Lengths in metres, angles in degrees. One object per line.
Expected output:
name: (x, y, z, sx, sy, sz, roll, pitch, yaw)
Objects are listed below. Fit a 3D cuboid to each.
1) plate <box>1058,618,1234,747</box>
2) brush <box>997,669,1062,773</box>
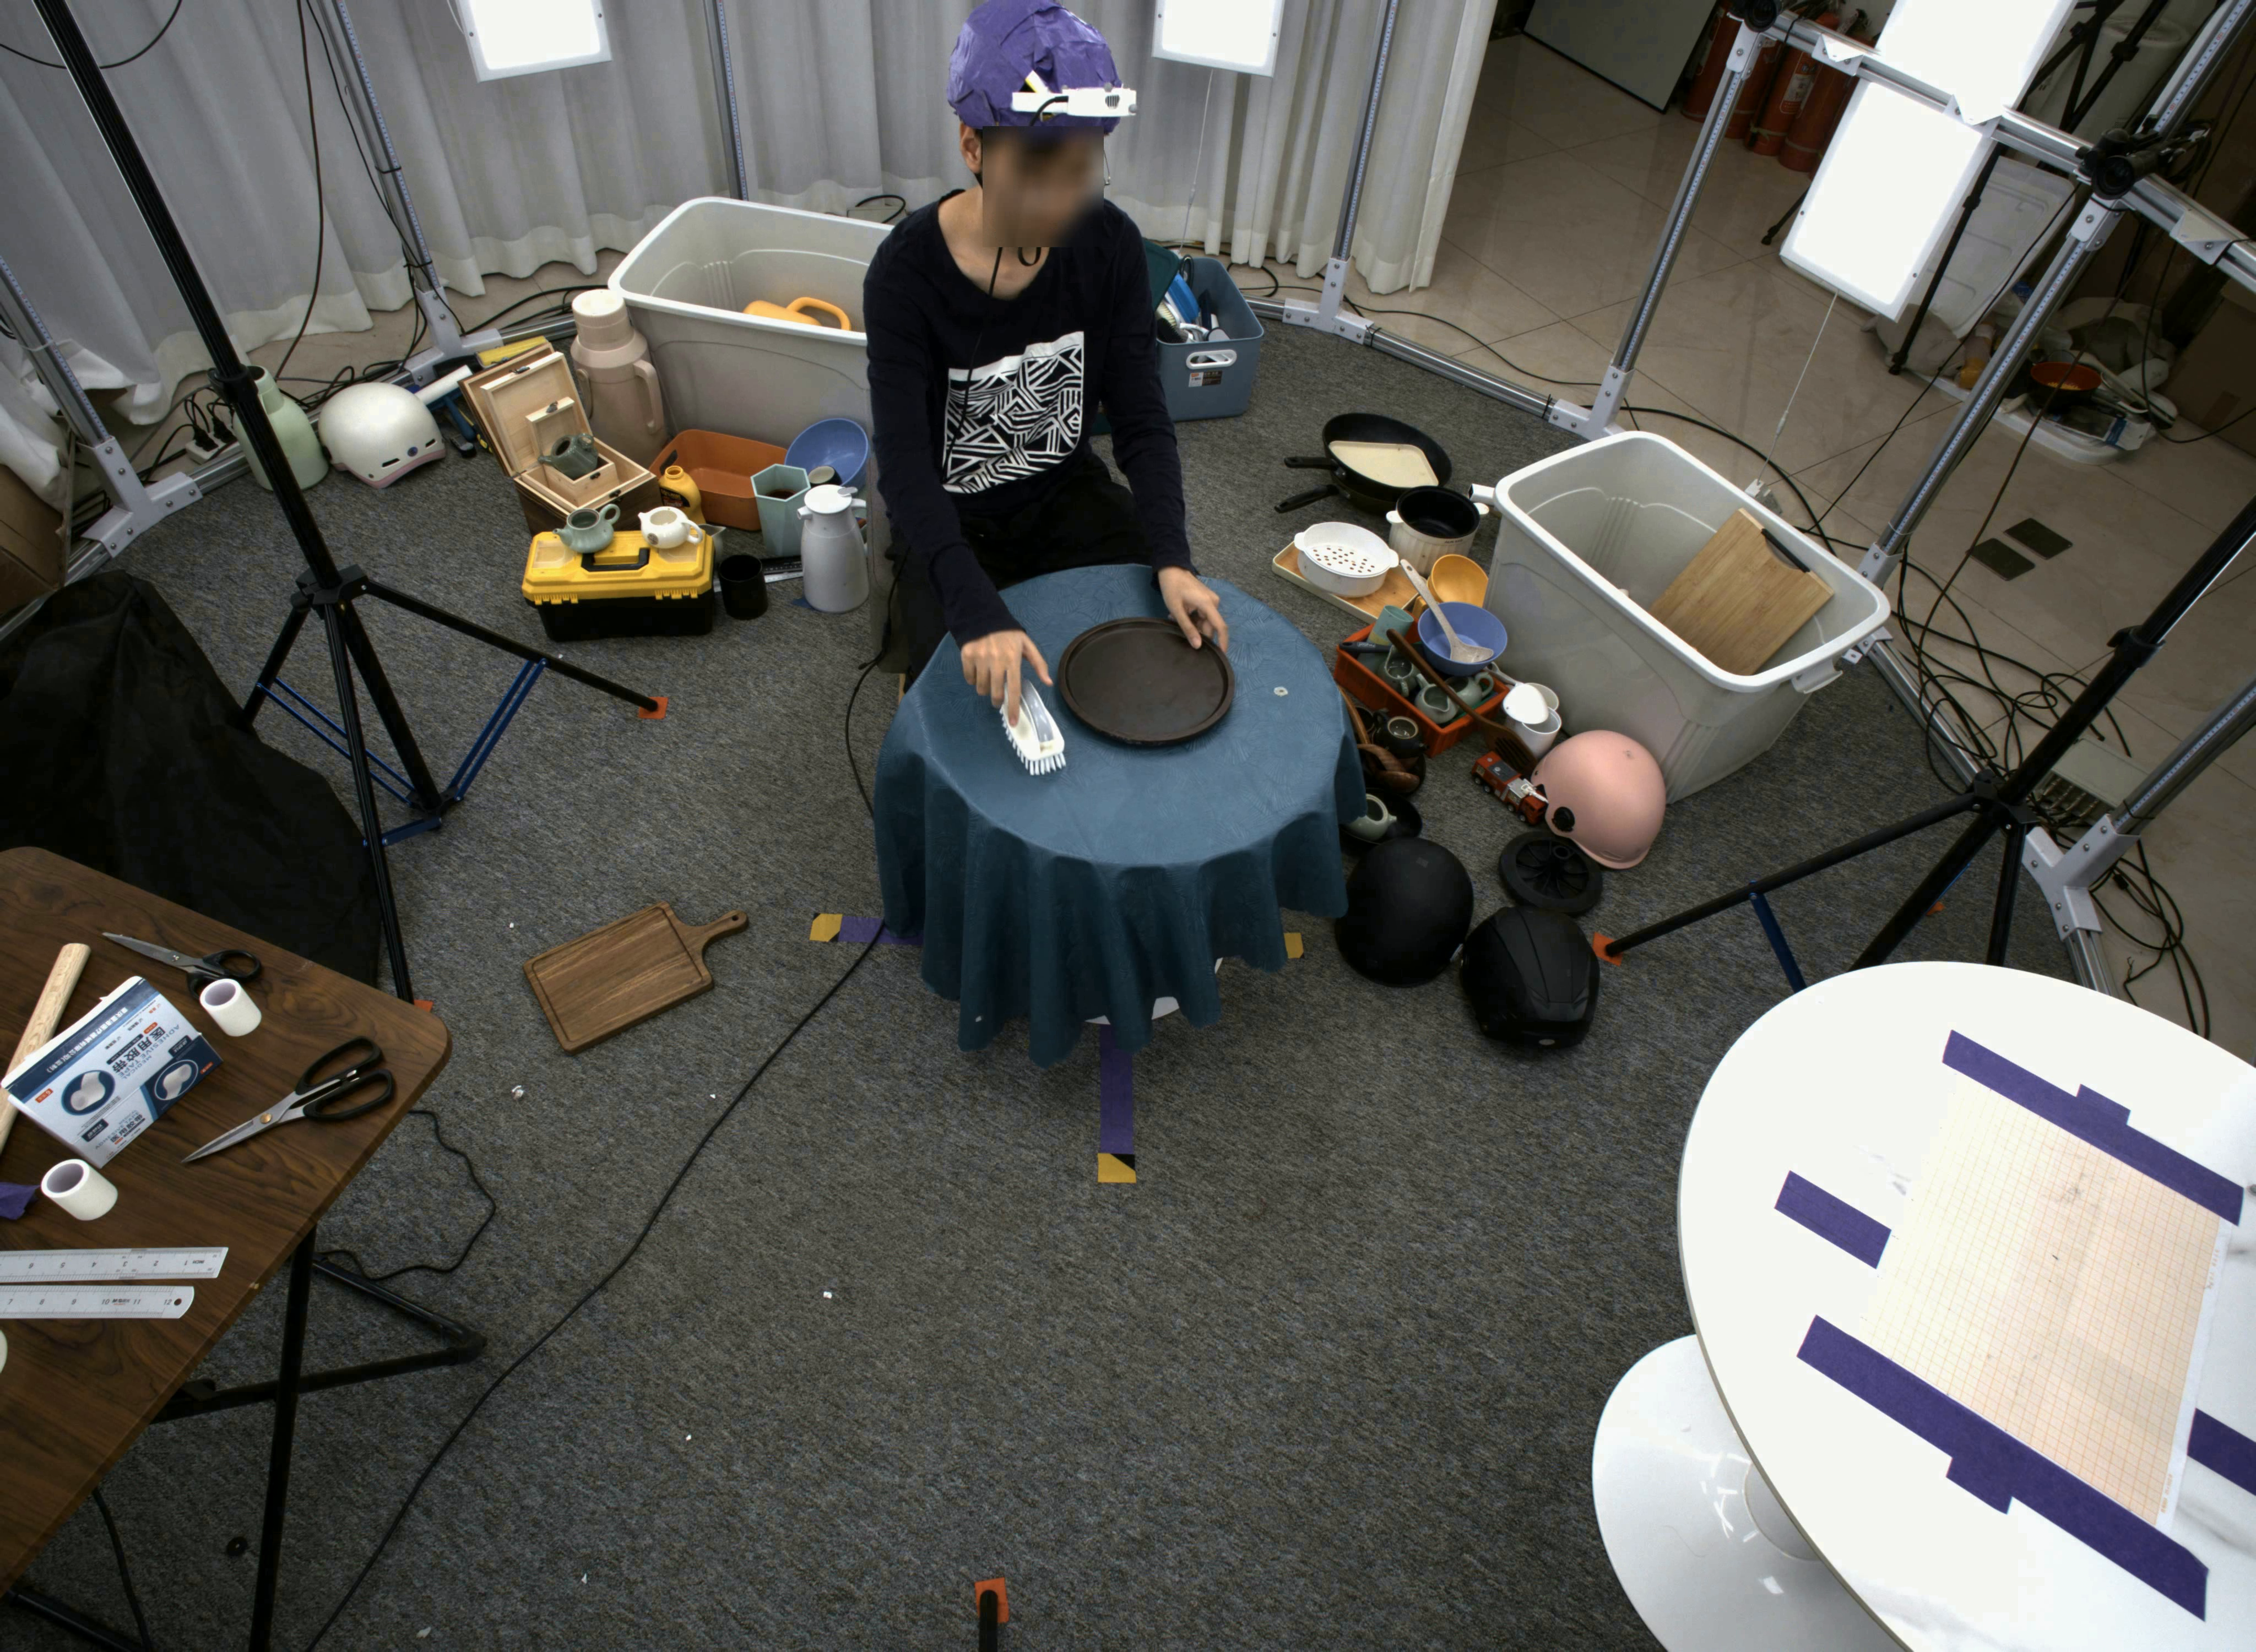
plate: (0.026, -0.206, 1.834, 0.254, 0.028, 0.261, 2, 50, -3)
brush: (-0.143, -0.160, 1.738, 0.061, 0.092, 0.179, -16, 49, -18)
